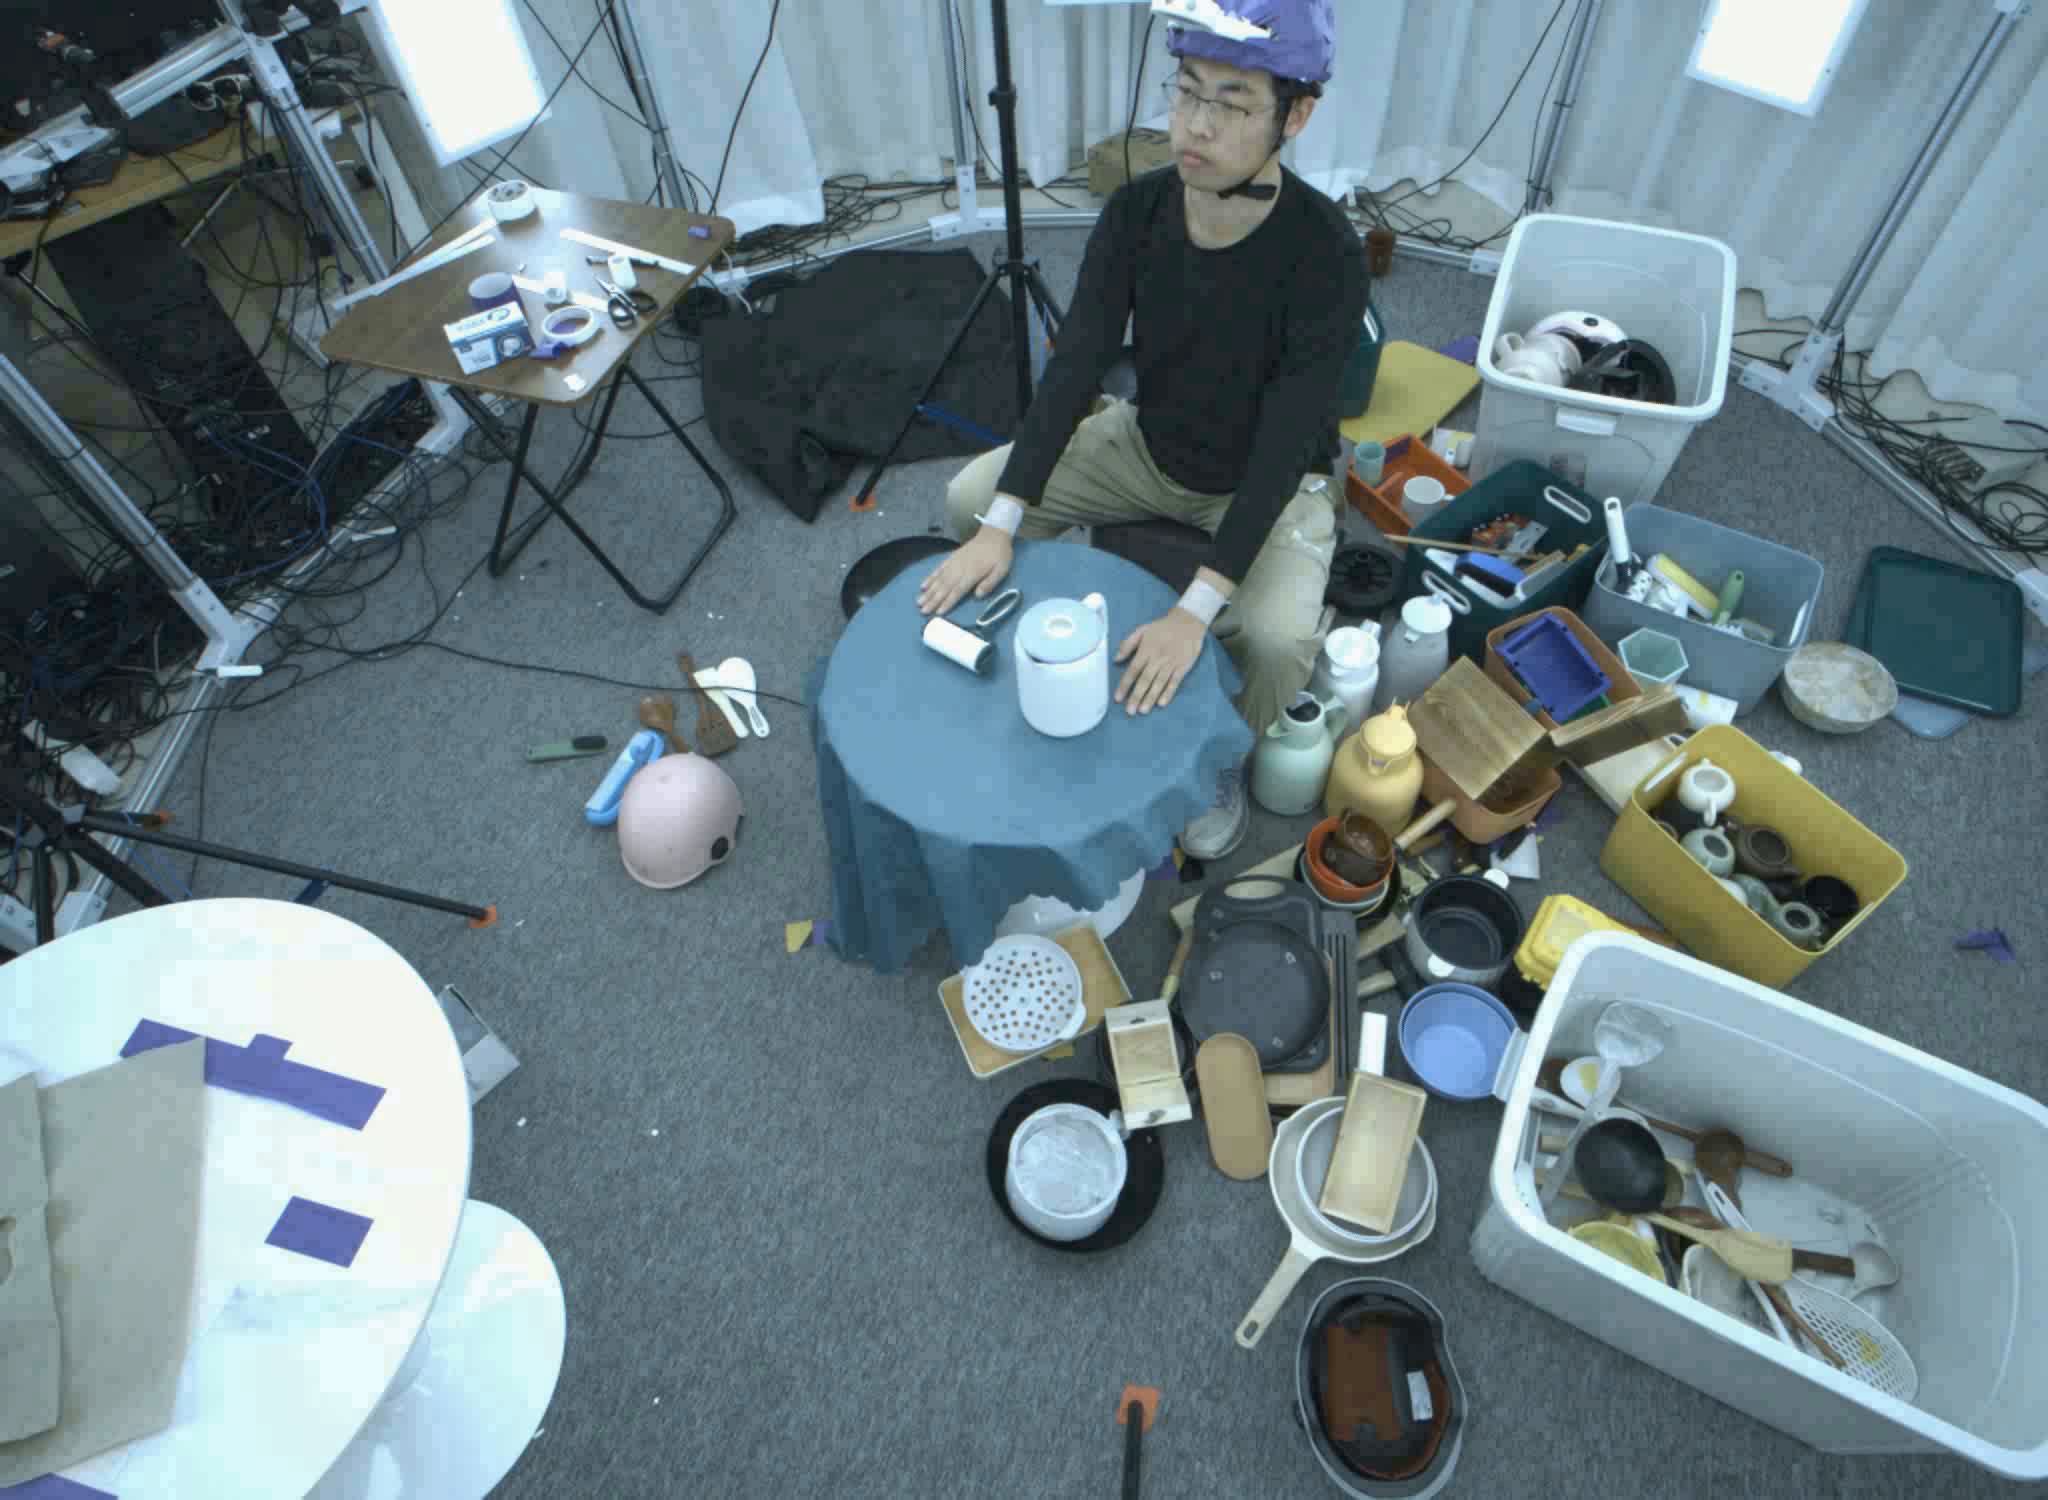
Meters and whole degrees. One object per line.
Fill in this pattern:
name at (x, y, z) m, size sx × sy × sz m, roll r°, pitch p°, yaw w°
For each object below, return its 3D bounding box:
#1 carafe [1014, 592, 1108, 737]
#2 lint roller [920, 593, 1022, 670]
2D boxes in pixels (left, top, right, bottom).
carafe at (0.066, -0.135, 1.775) m, size 0.130 × 0.184 × 0.191 m, roll 24°, pitch 57°, yaw 19°
lint roller at (-0.062, -0.205, 1.909) m, size 0.132 × 0.049 × 0.181 m, roll 30°, pitch 58°, yaw 21°
